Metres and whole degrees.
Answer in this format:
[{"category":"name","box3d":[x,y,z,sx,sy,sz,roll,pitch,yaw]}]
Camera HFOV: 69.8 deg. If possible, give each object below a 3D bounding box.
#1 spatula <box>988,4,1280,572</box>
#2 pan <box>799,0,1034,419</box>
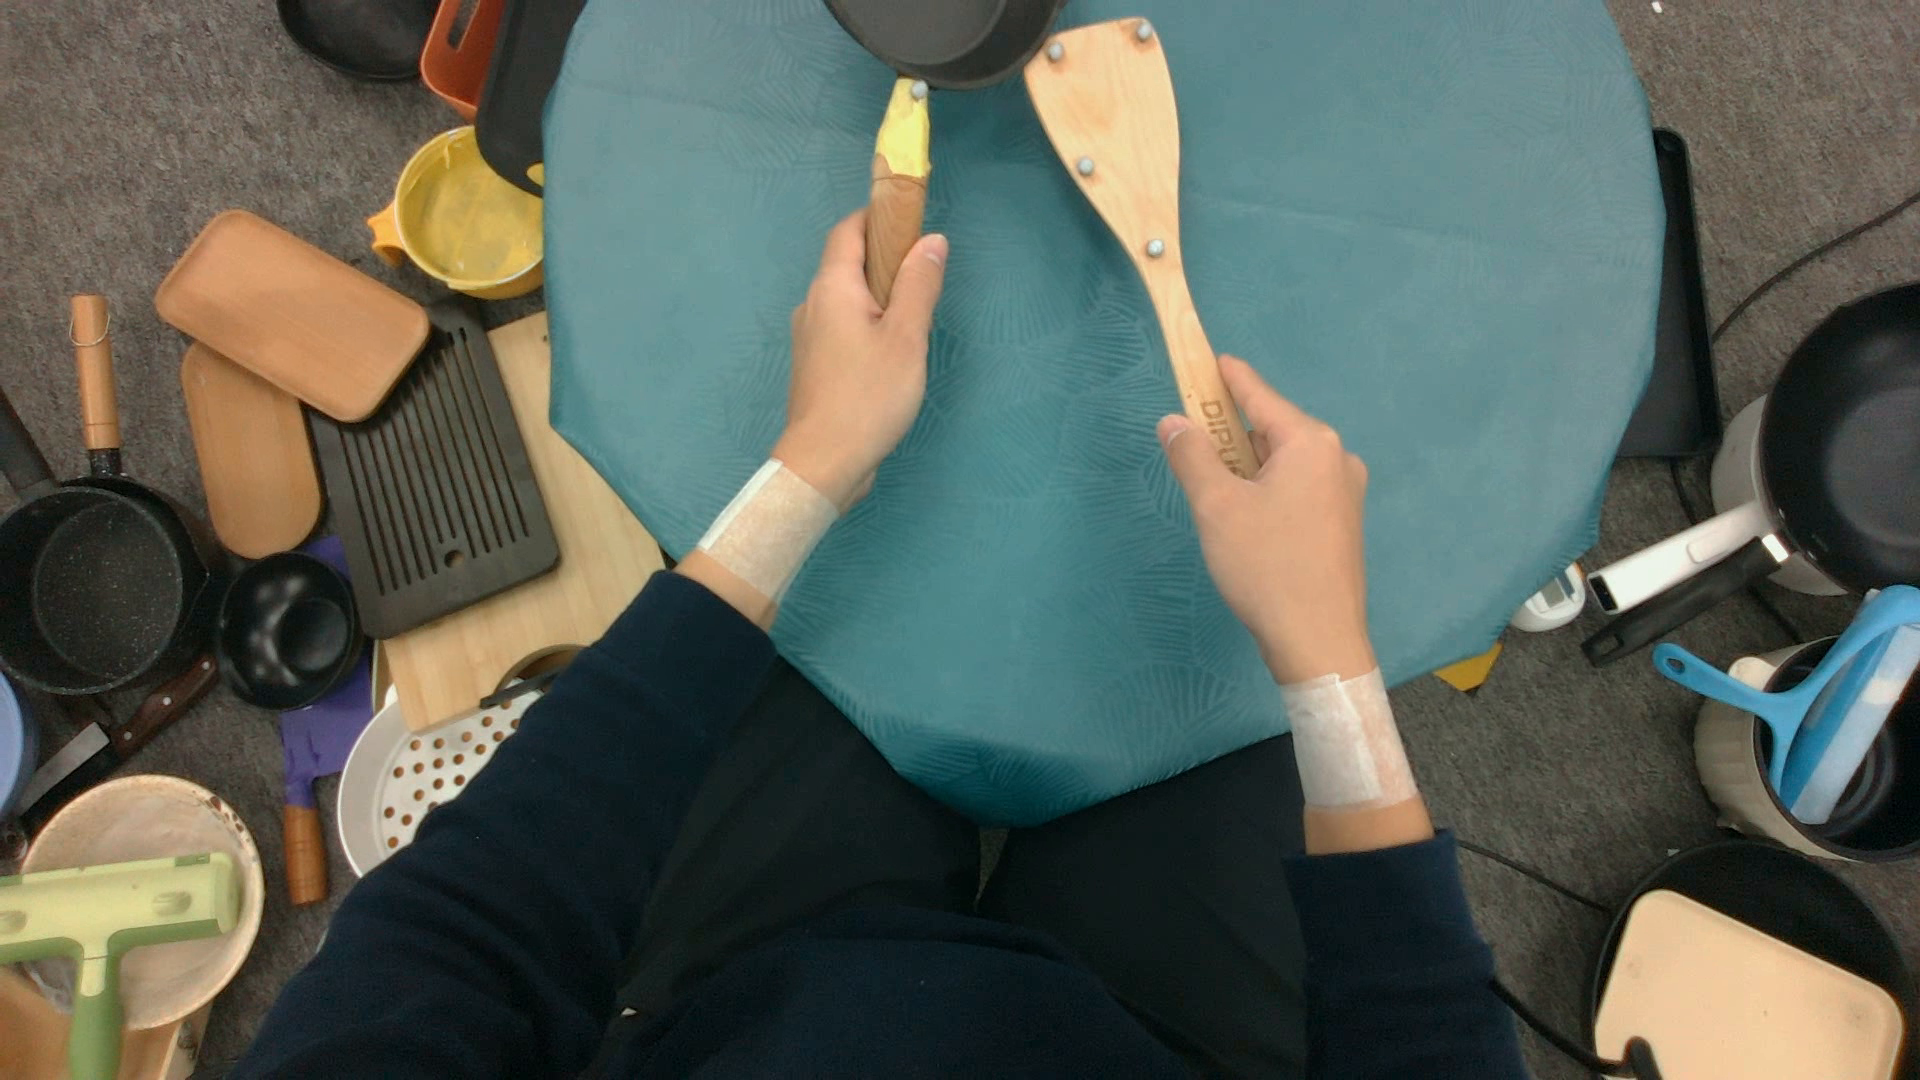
[{"category":"spatula","box3d":[0.088,-0.131,0.655,0.080,0.016,0.328,-10,64,-12]},{"category":"pan","box3d":[-0.040,-0.219,0.665,0.169,0.049,0.324,11,86,-37]}]
